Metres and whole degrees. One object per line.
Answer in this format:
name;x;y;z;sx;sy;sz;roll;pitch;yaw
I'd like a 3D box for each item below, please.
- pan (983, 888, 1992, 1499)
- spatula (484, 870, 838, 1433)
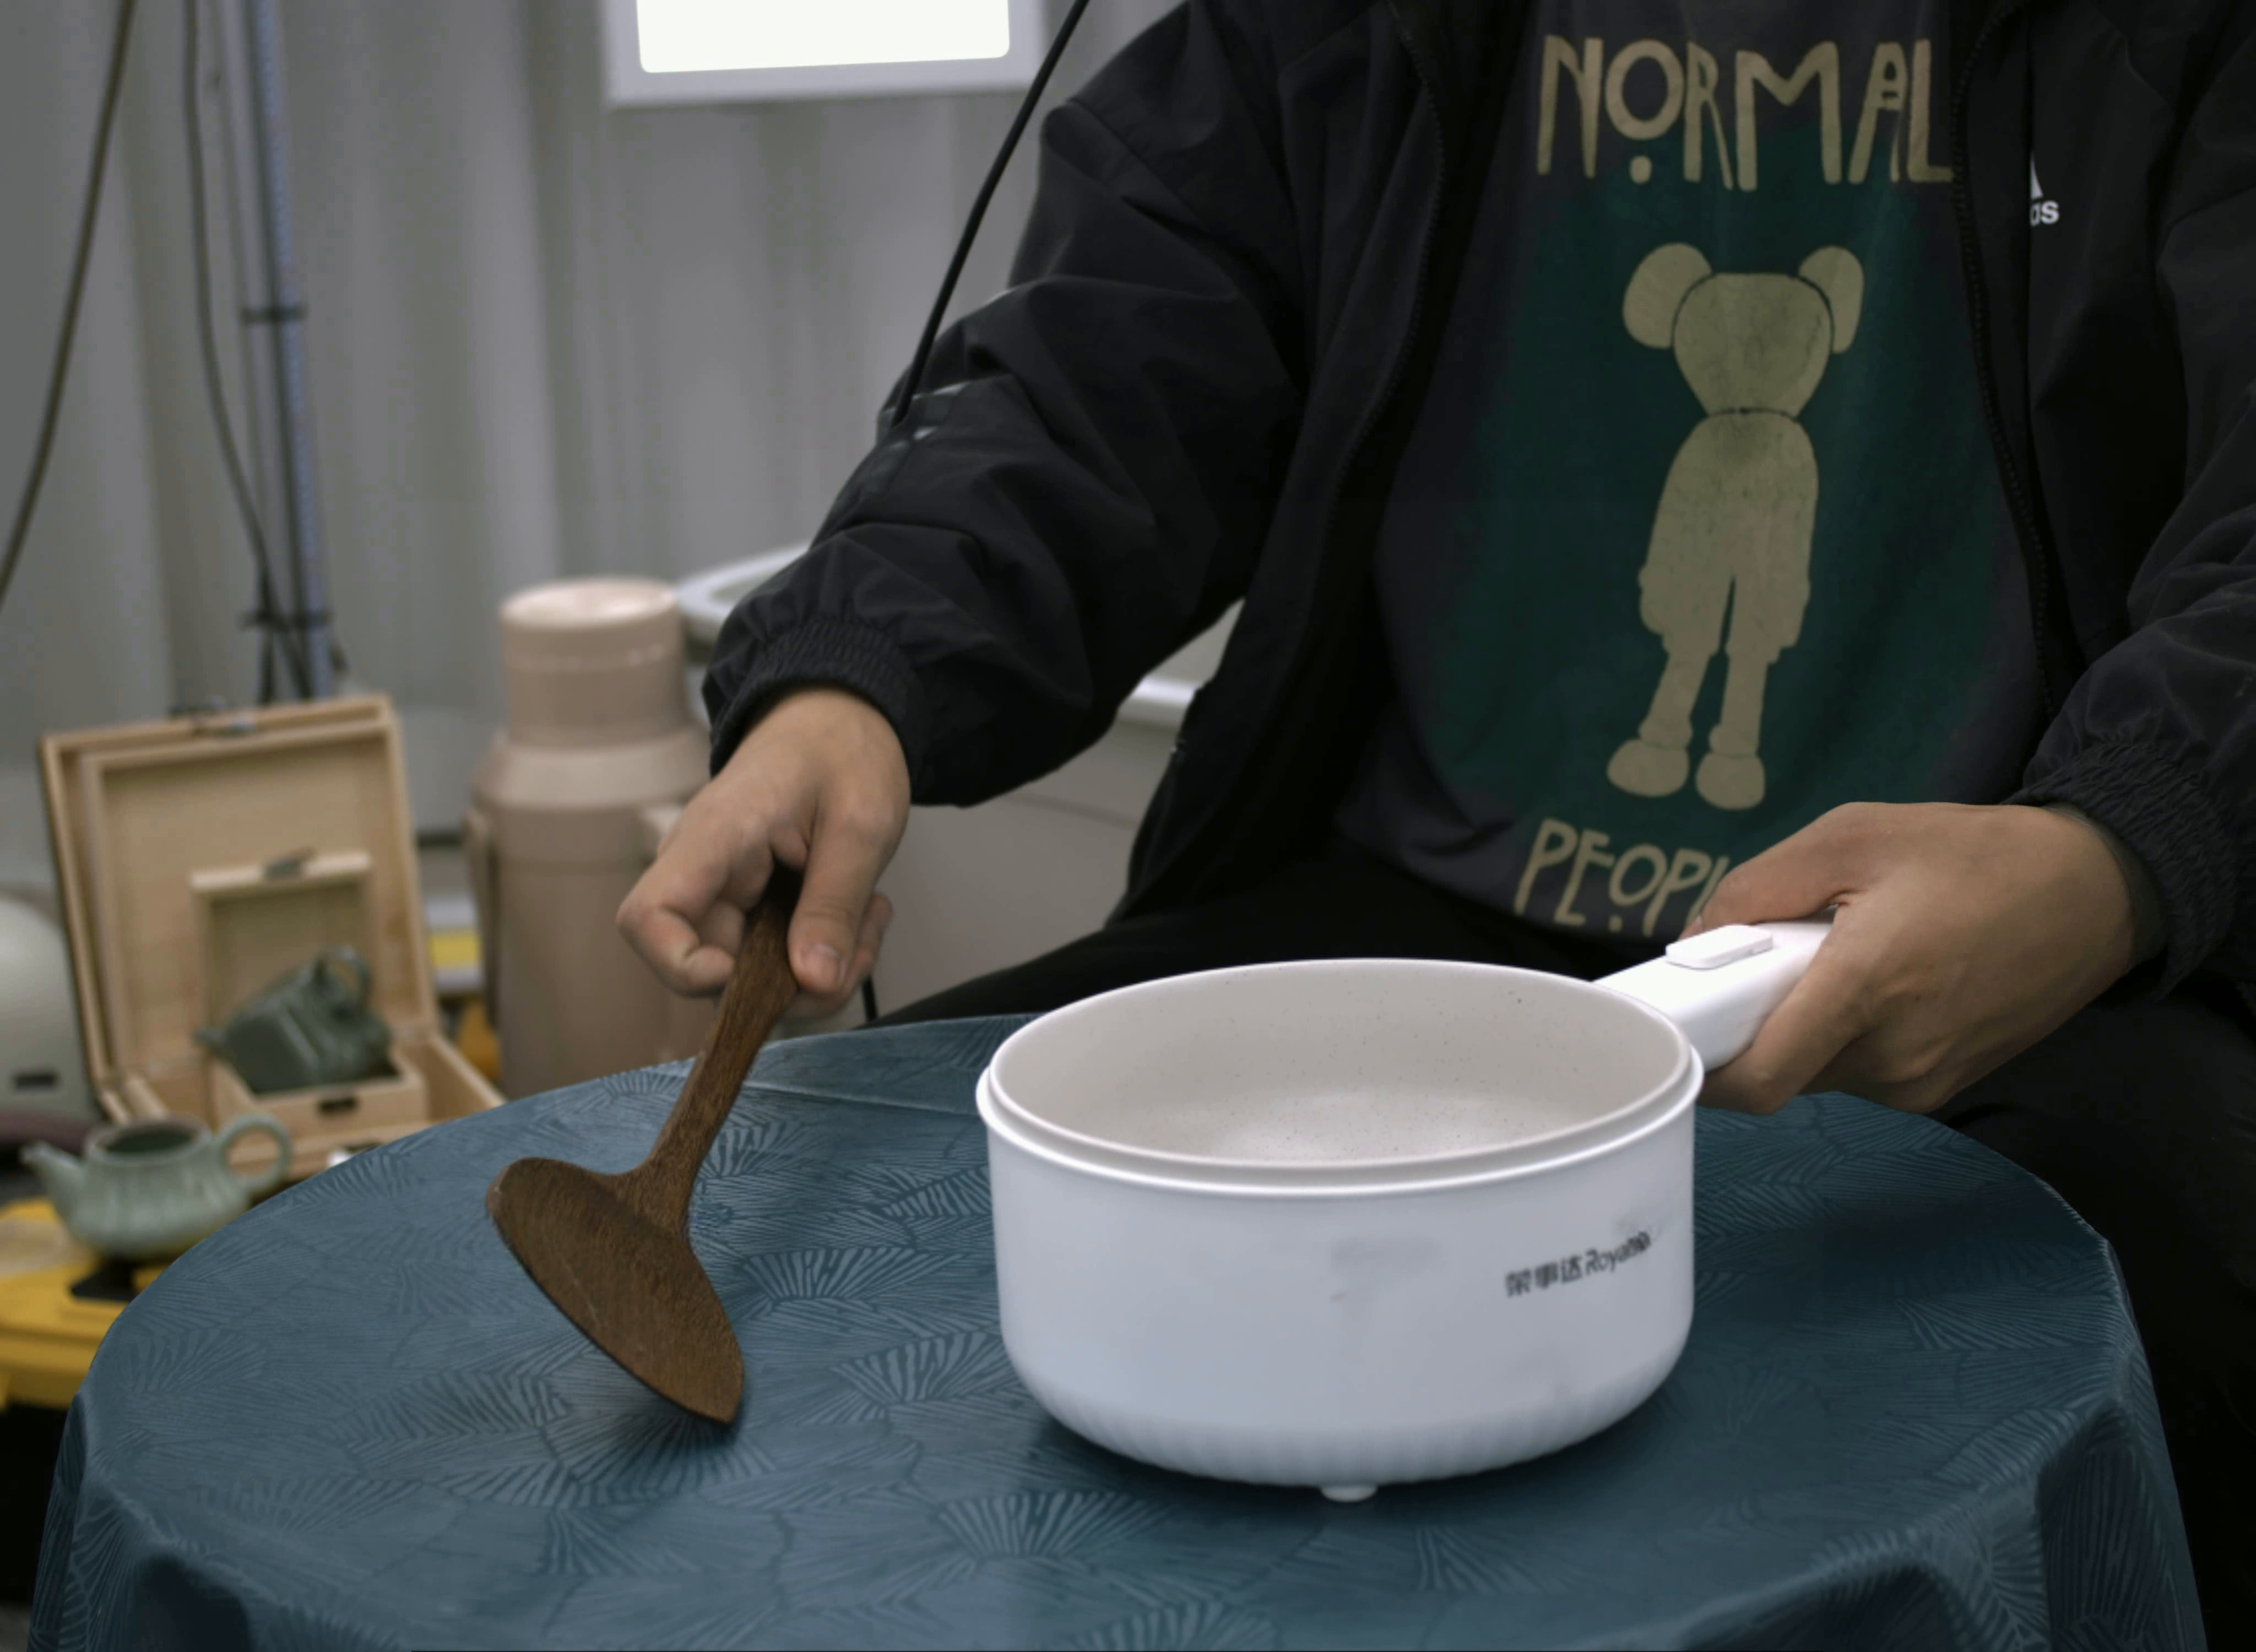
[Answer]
pan;0.118;0.098;1.567;0.354;0.102;0.202;-13;17;-40
spatula;-0.129;0.083;1.684;0.016;0.096;0.389;-44;9;18
